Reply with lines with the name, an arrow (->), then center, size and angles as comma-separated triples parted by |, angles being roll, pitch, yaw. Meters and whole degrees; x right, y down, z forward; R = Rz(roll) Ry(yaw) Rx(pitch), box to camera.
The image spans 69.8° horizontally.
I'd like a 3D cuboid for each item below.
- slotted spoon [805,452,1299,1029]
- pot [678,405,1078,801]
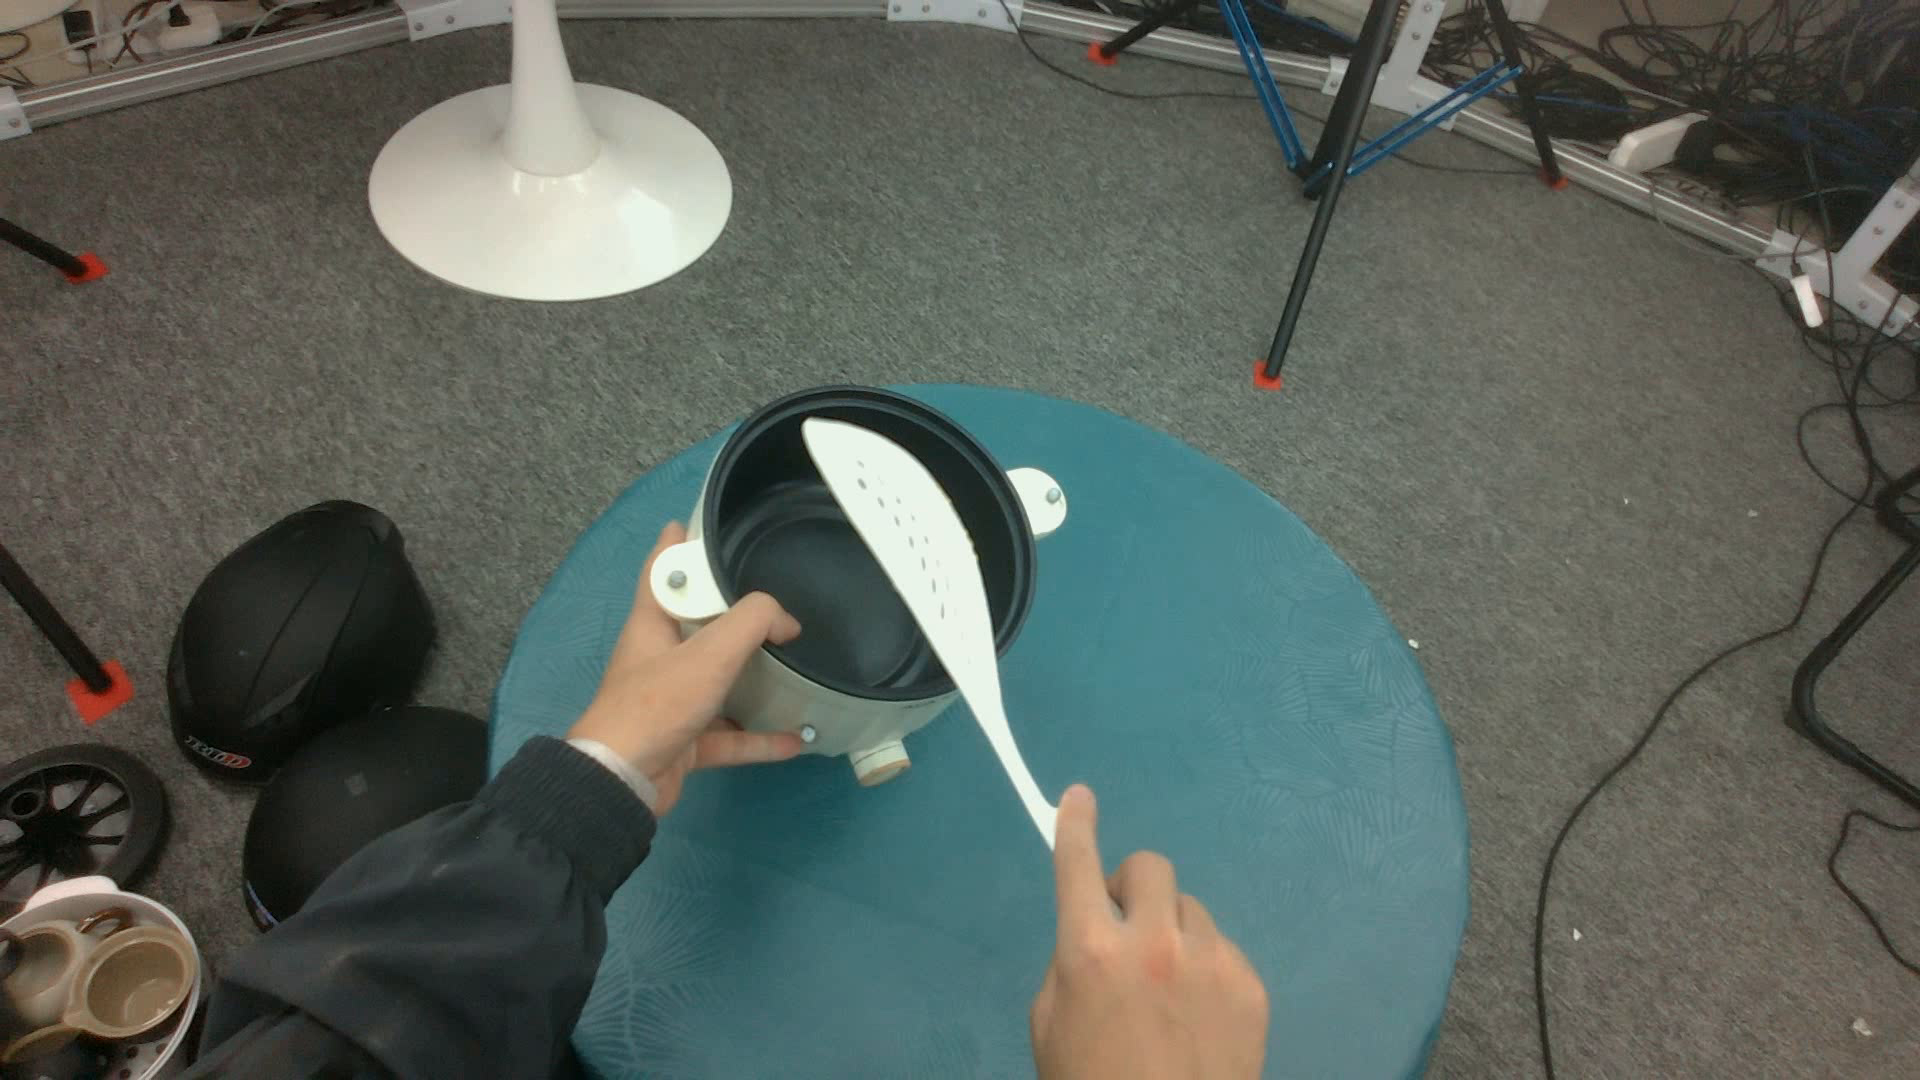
slotted spoon -> 0.035, 0.082, 0.642 | 0.050, 0.136, 0.348 | -34, 63, 3
pot -> -0.052, 0.041, 0.777 | 0.241, 0.142, 0.191 | -18, 66, -28
